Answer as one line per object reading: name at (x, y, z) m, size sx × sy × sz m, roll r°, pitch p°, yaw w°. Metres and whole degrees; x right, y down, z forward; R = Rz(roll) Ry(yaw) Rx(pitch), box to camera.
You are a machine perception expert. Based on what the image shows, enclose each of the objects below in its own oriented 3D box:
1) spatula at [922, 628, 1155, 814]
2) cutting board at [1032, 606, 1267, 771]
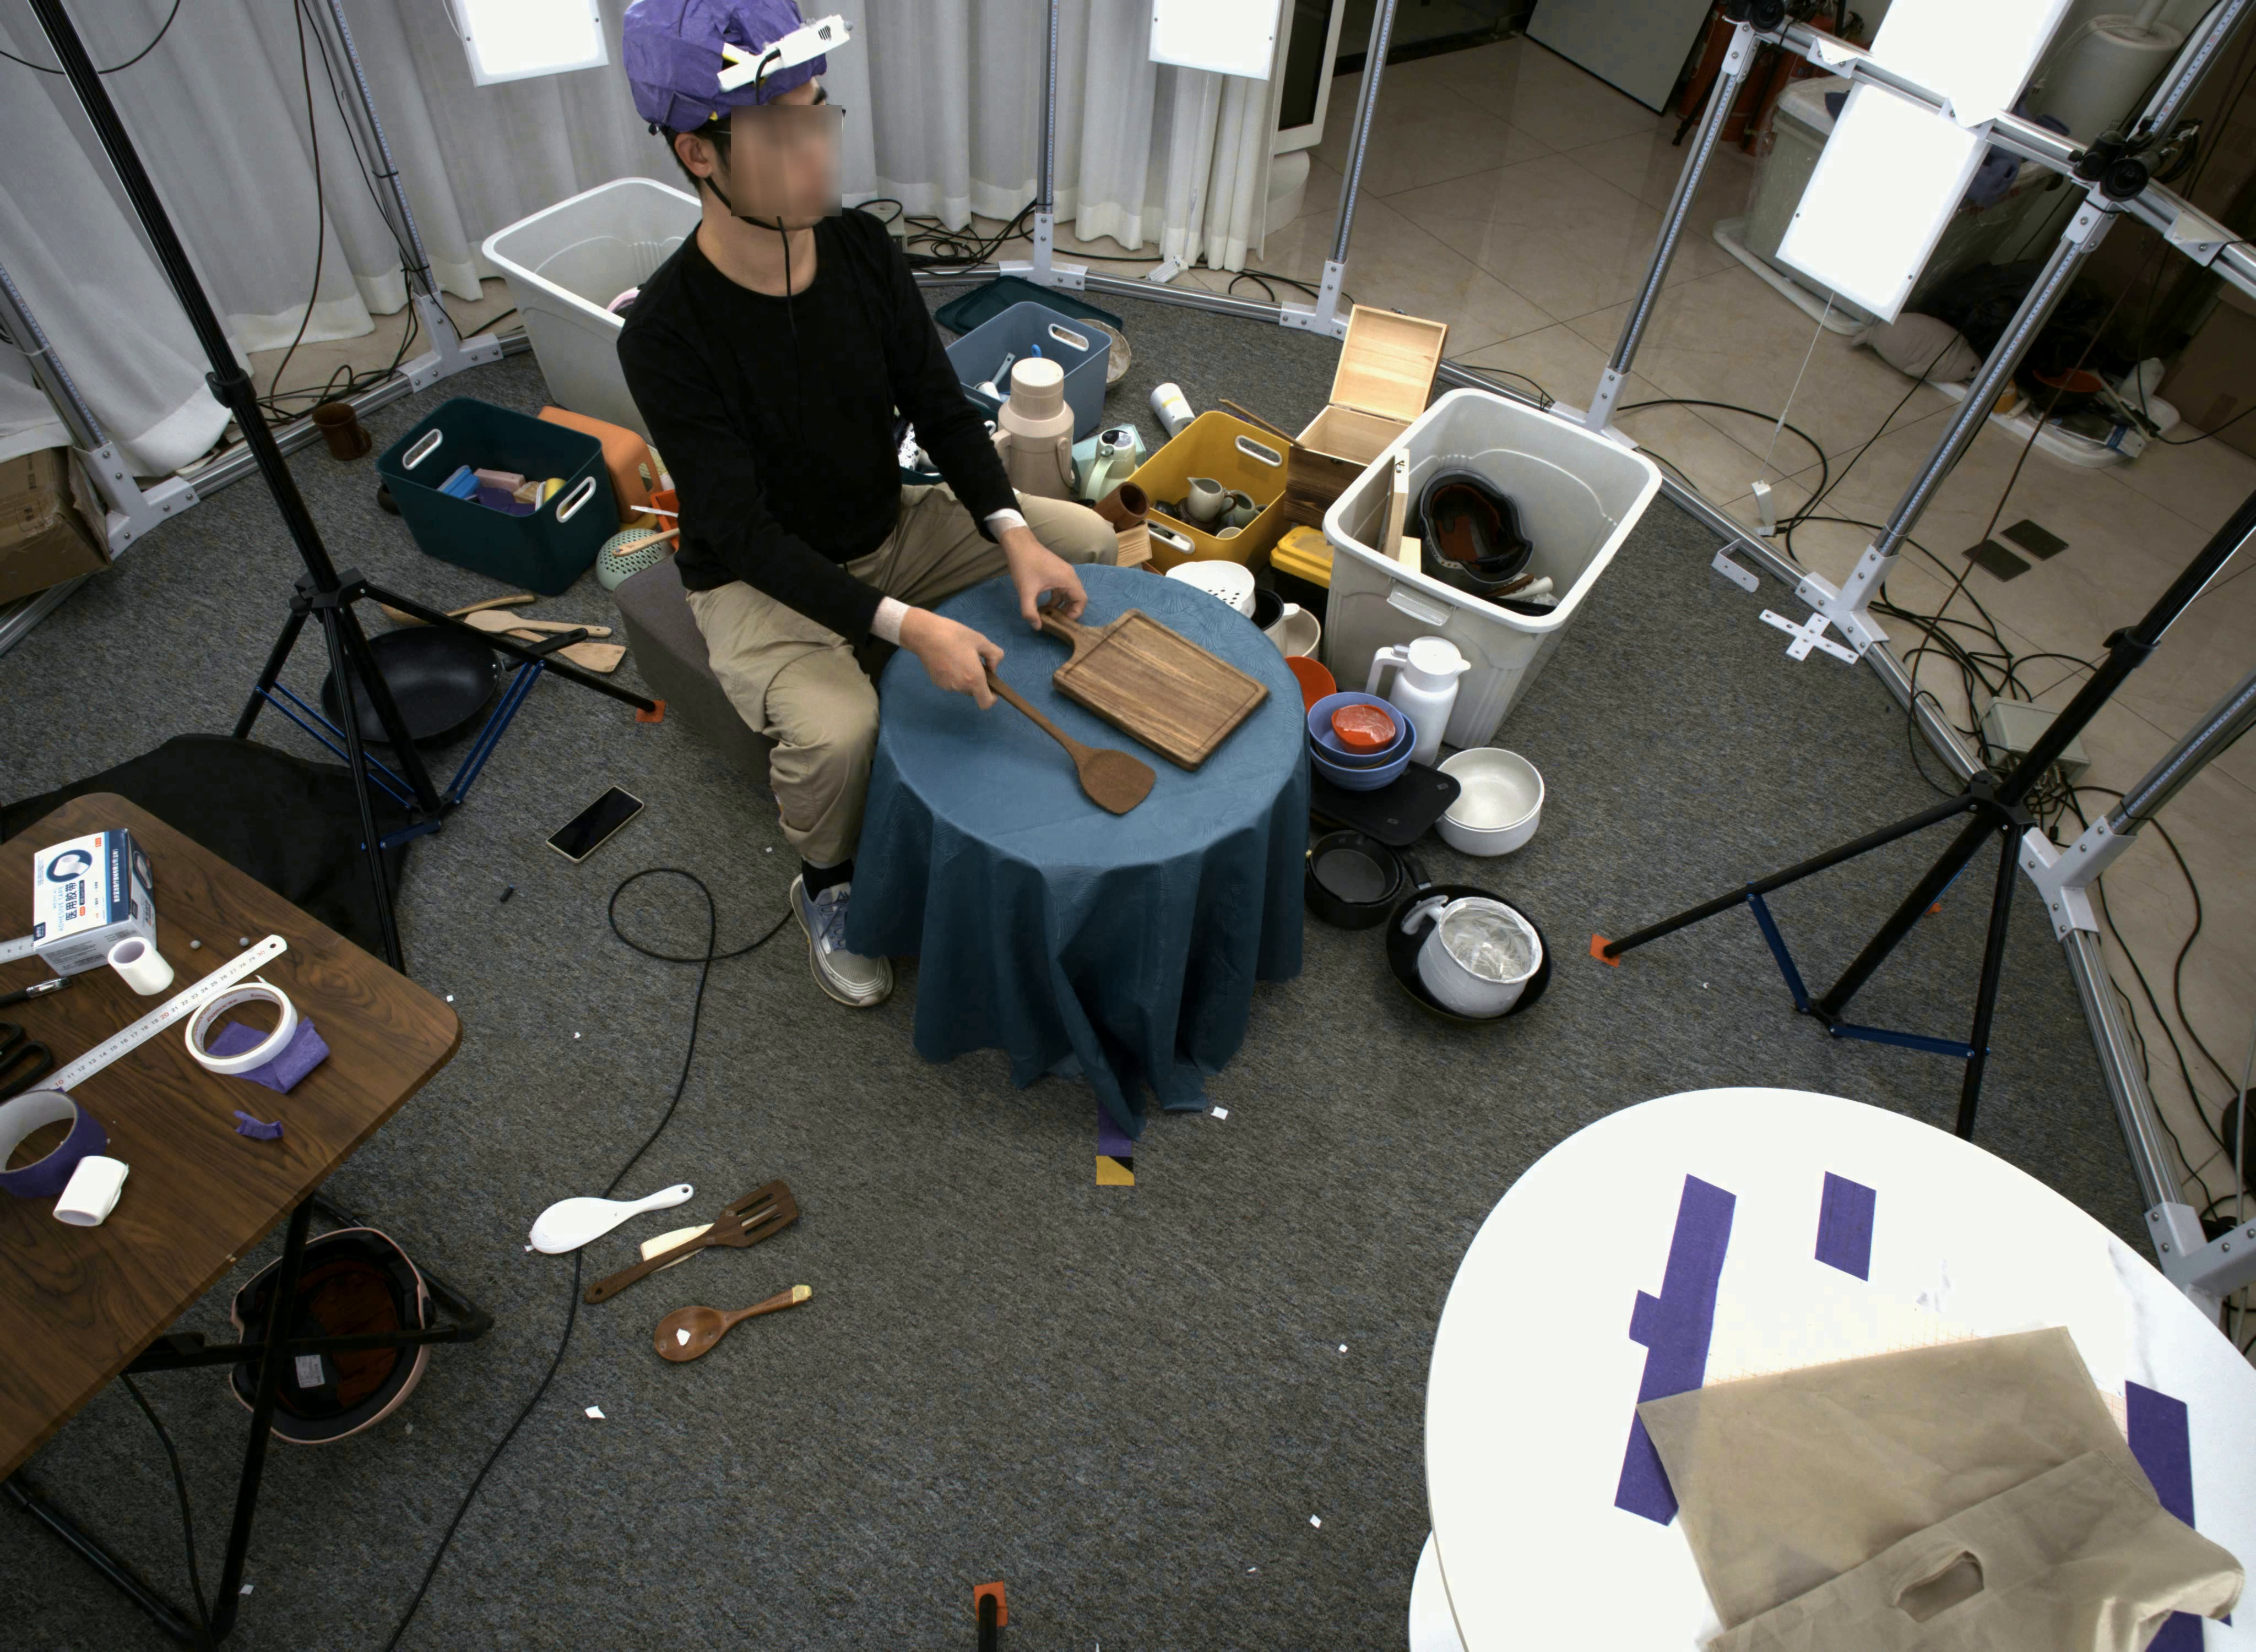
spatula at (-0.130, -0.152, 1.735) m, size 0.388 × 0.015 × 0.097 m, roll 38°, pitch 58°, yaw 10°
cutting board at (0.006, -0.226, 1.843) m, size 0.356 × 0.022 × 0.203 m, roll 32°, pitch 54°, yaw 19°
